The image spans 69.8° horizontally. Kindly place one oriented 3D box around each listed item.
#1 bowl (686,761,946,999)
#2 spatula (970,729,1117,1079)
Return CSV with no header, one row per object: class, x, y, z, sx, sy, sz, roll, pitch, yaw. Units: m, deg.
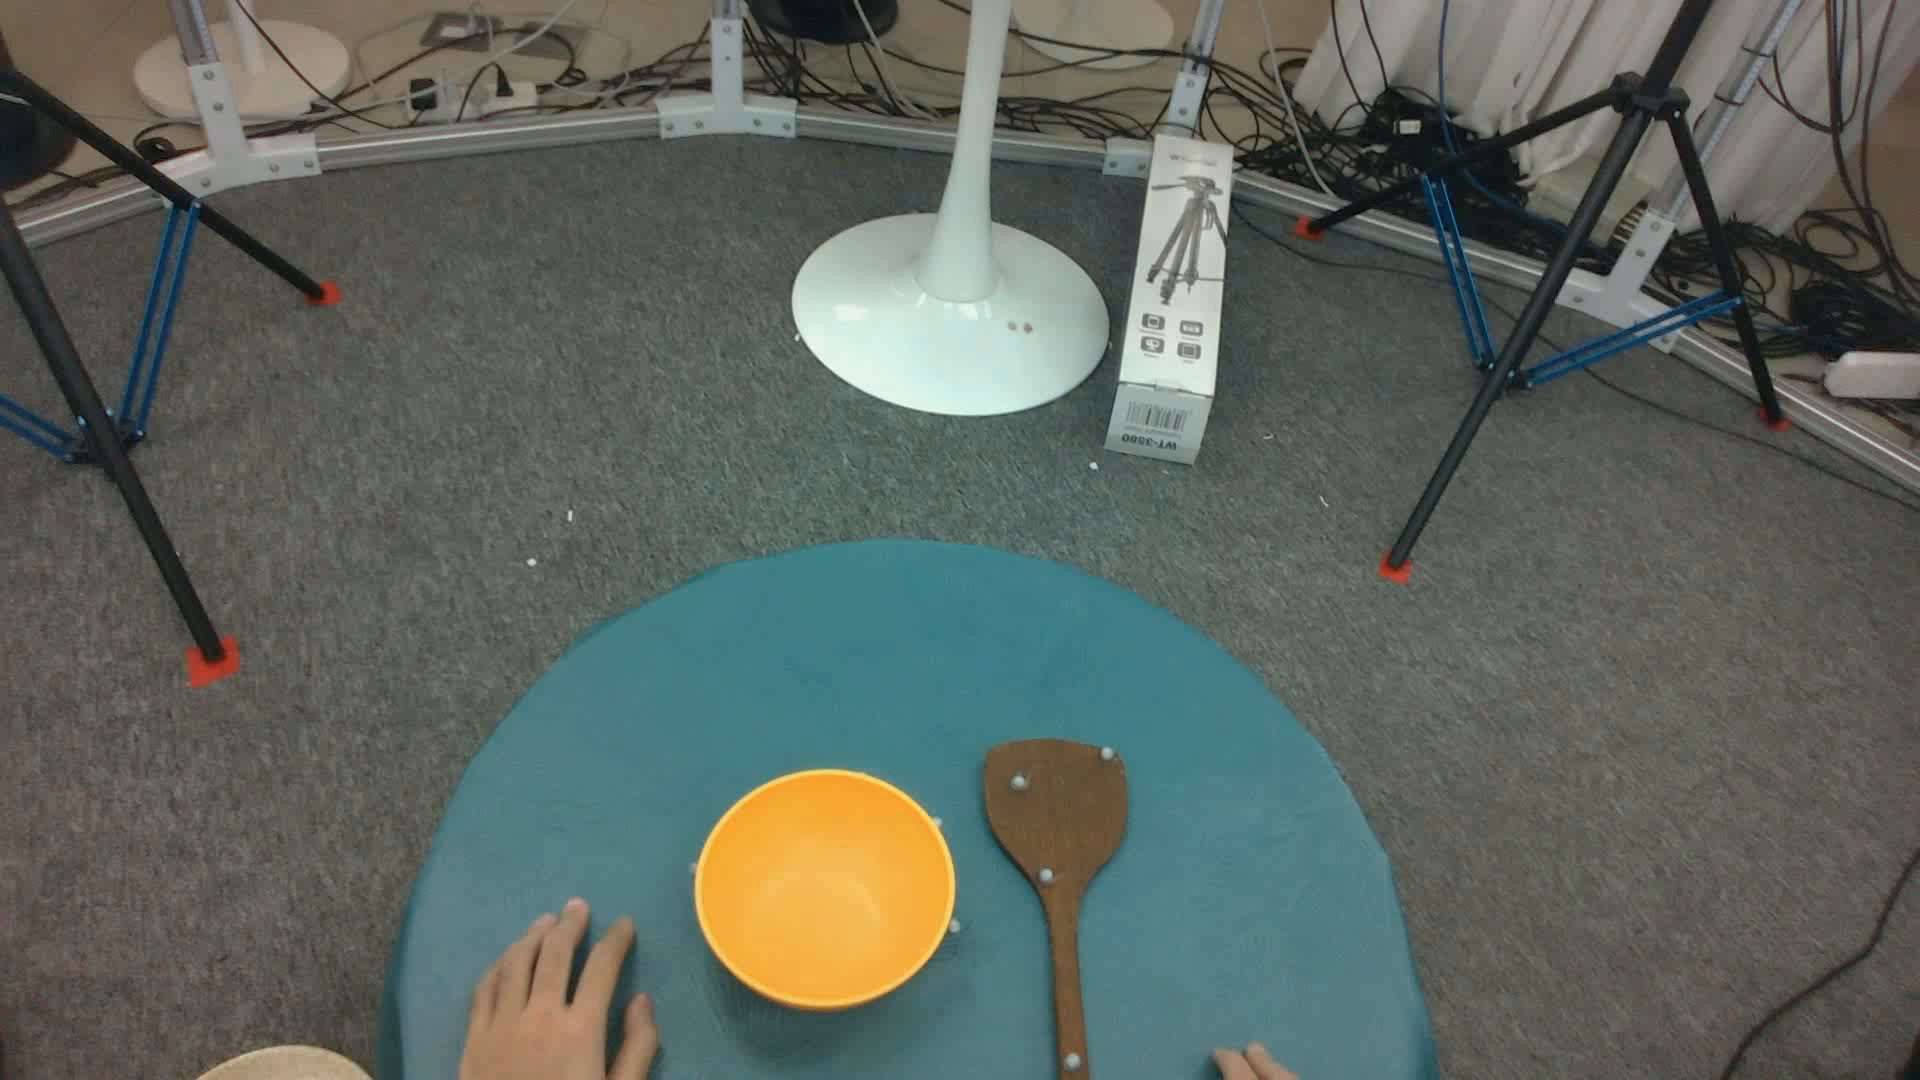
bowl,-0.082,0.203,0.792,0.145,0.060,0.146,3,48,-3
spatula,0.057,0.271,0.782,0.096,0.015,0.387,4,48,-6
